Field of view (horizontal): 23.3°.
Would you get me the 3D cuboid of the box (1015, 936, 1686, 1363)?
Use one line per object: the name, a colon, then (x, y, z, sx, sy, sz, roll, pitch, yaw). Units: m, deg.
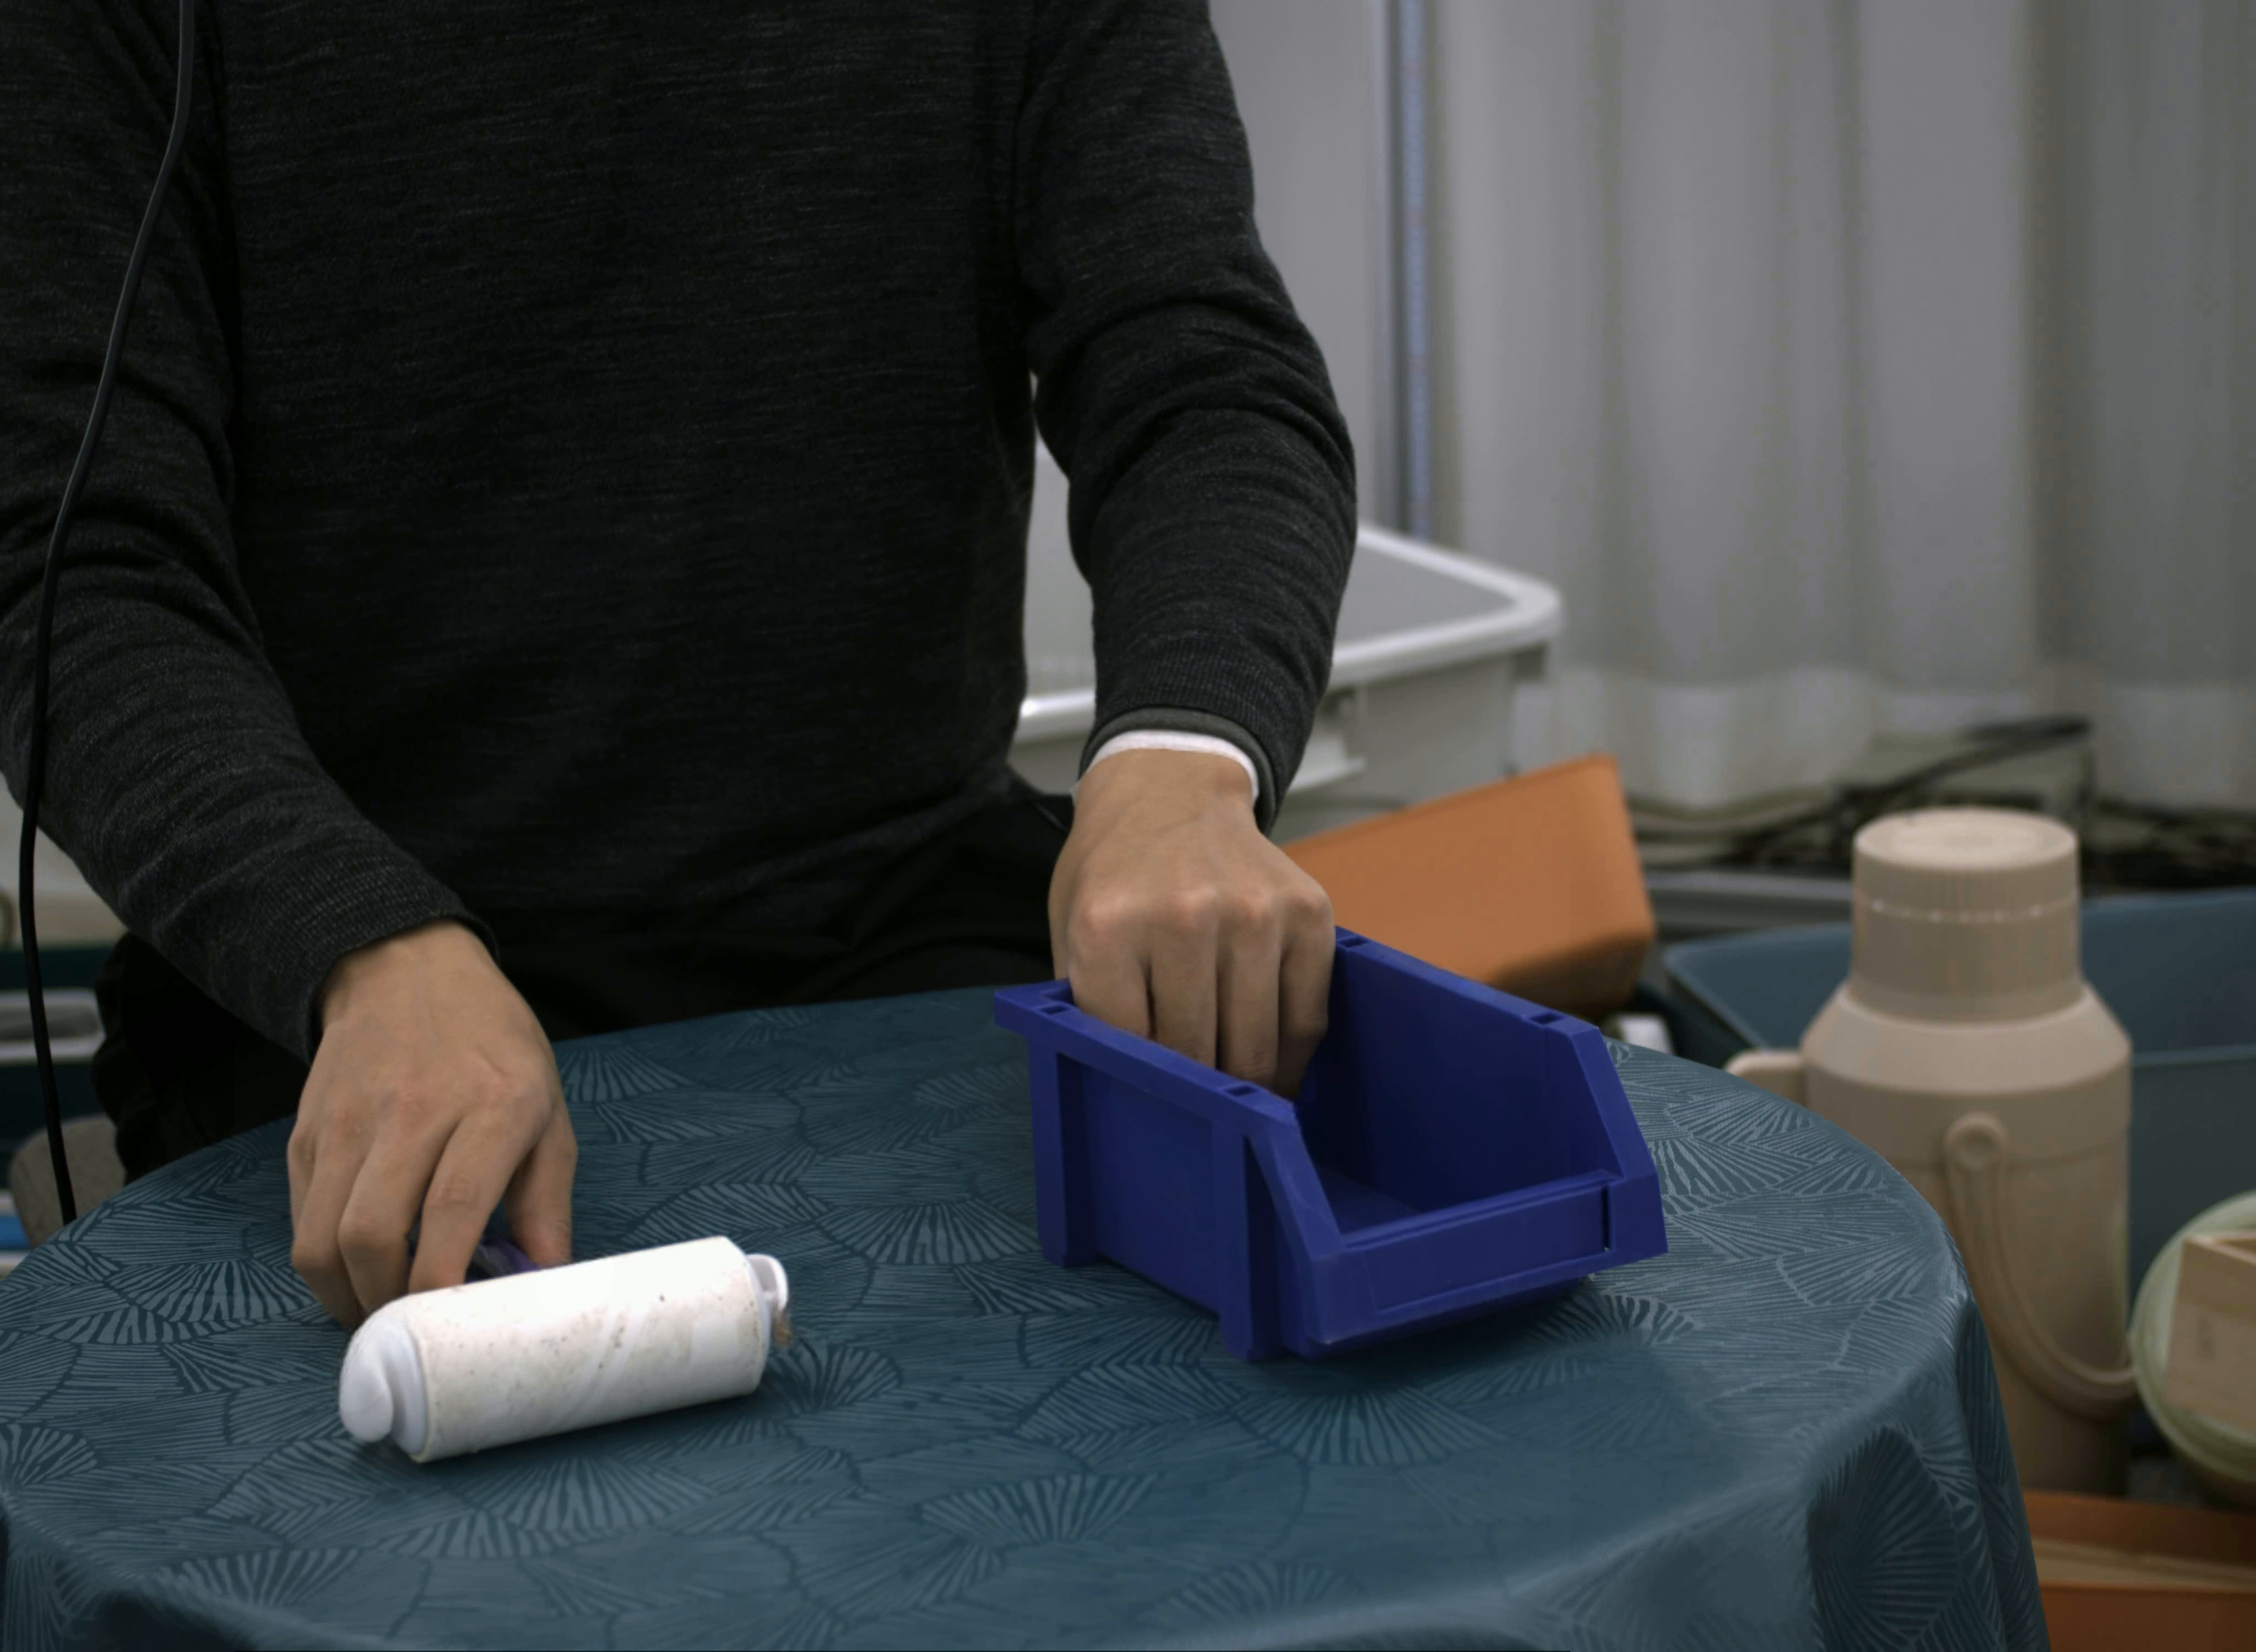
box: (0.065, 0.096, 1.613, 0.124, 0.081, 0.180, -10, 14, -28)

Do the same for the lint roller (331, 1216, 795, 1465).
lint roller: (-0.182, 0.130, 1.594, 0.132, 0.050, 0.182, -10, 20, -21)
